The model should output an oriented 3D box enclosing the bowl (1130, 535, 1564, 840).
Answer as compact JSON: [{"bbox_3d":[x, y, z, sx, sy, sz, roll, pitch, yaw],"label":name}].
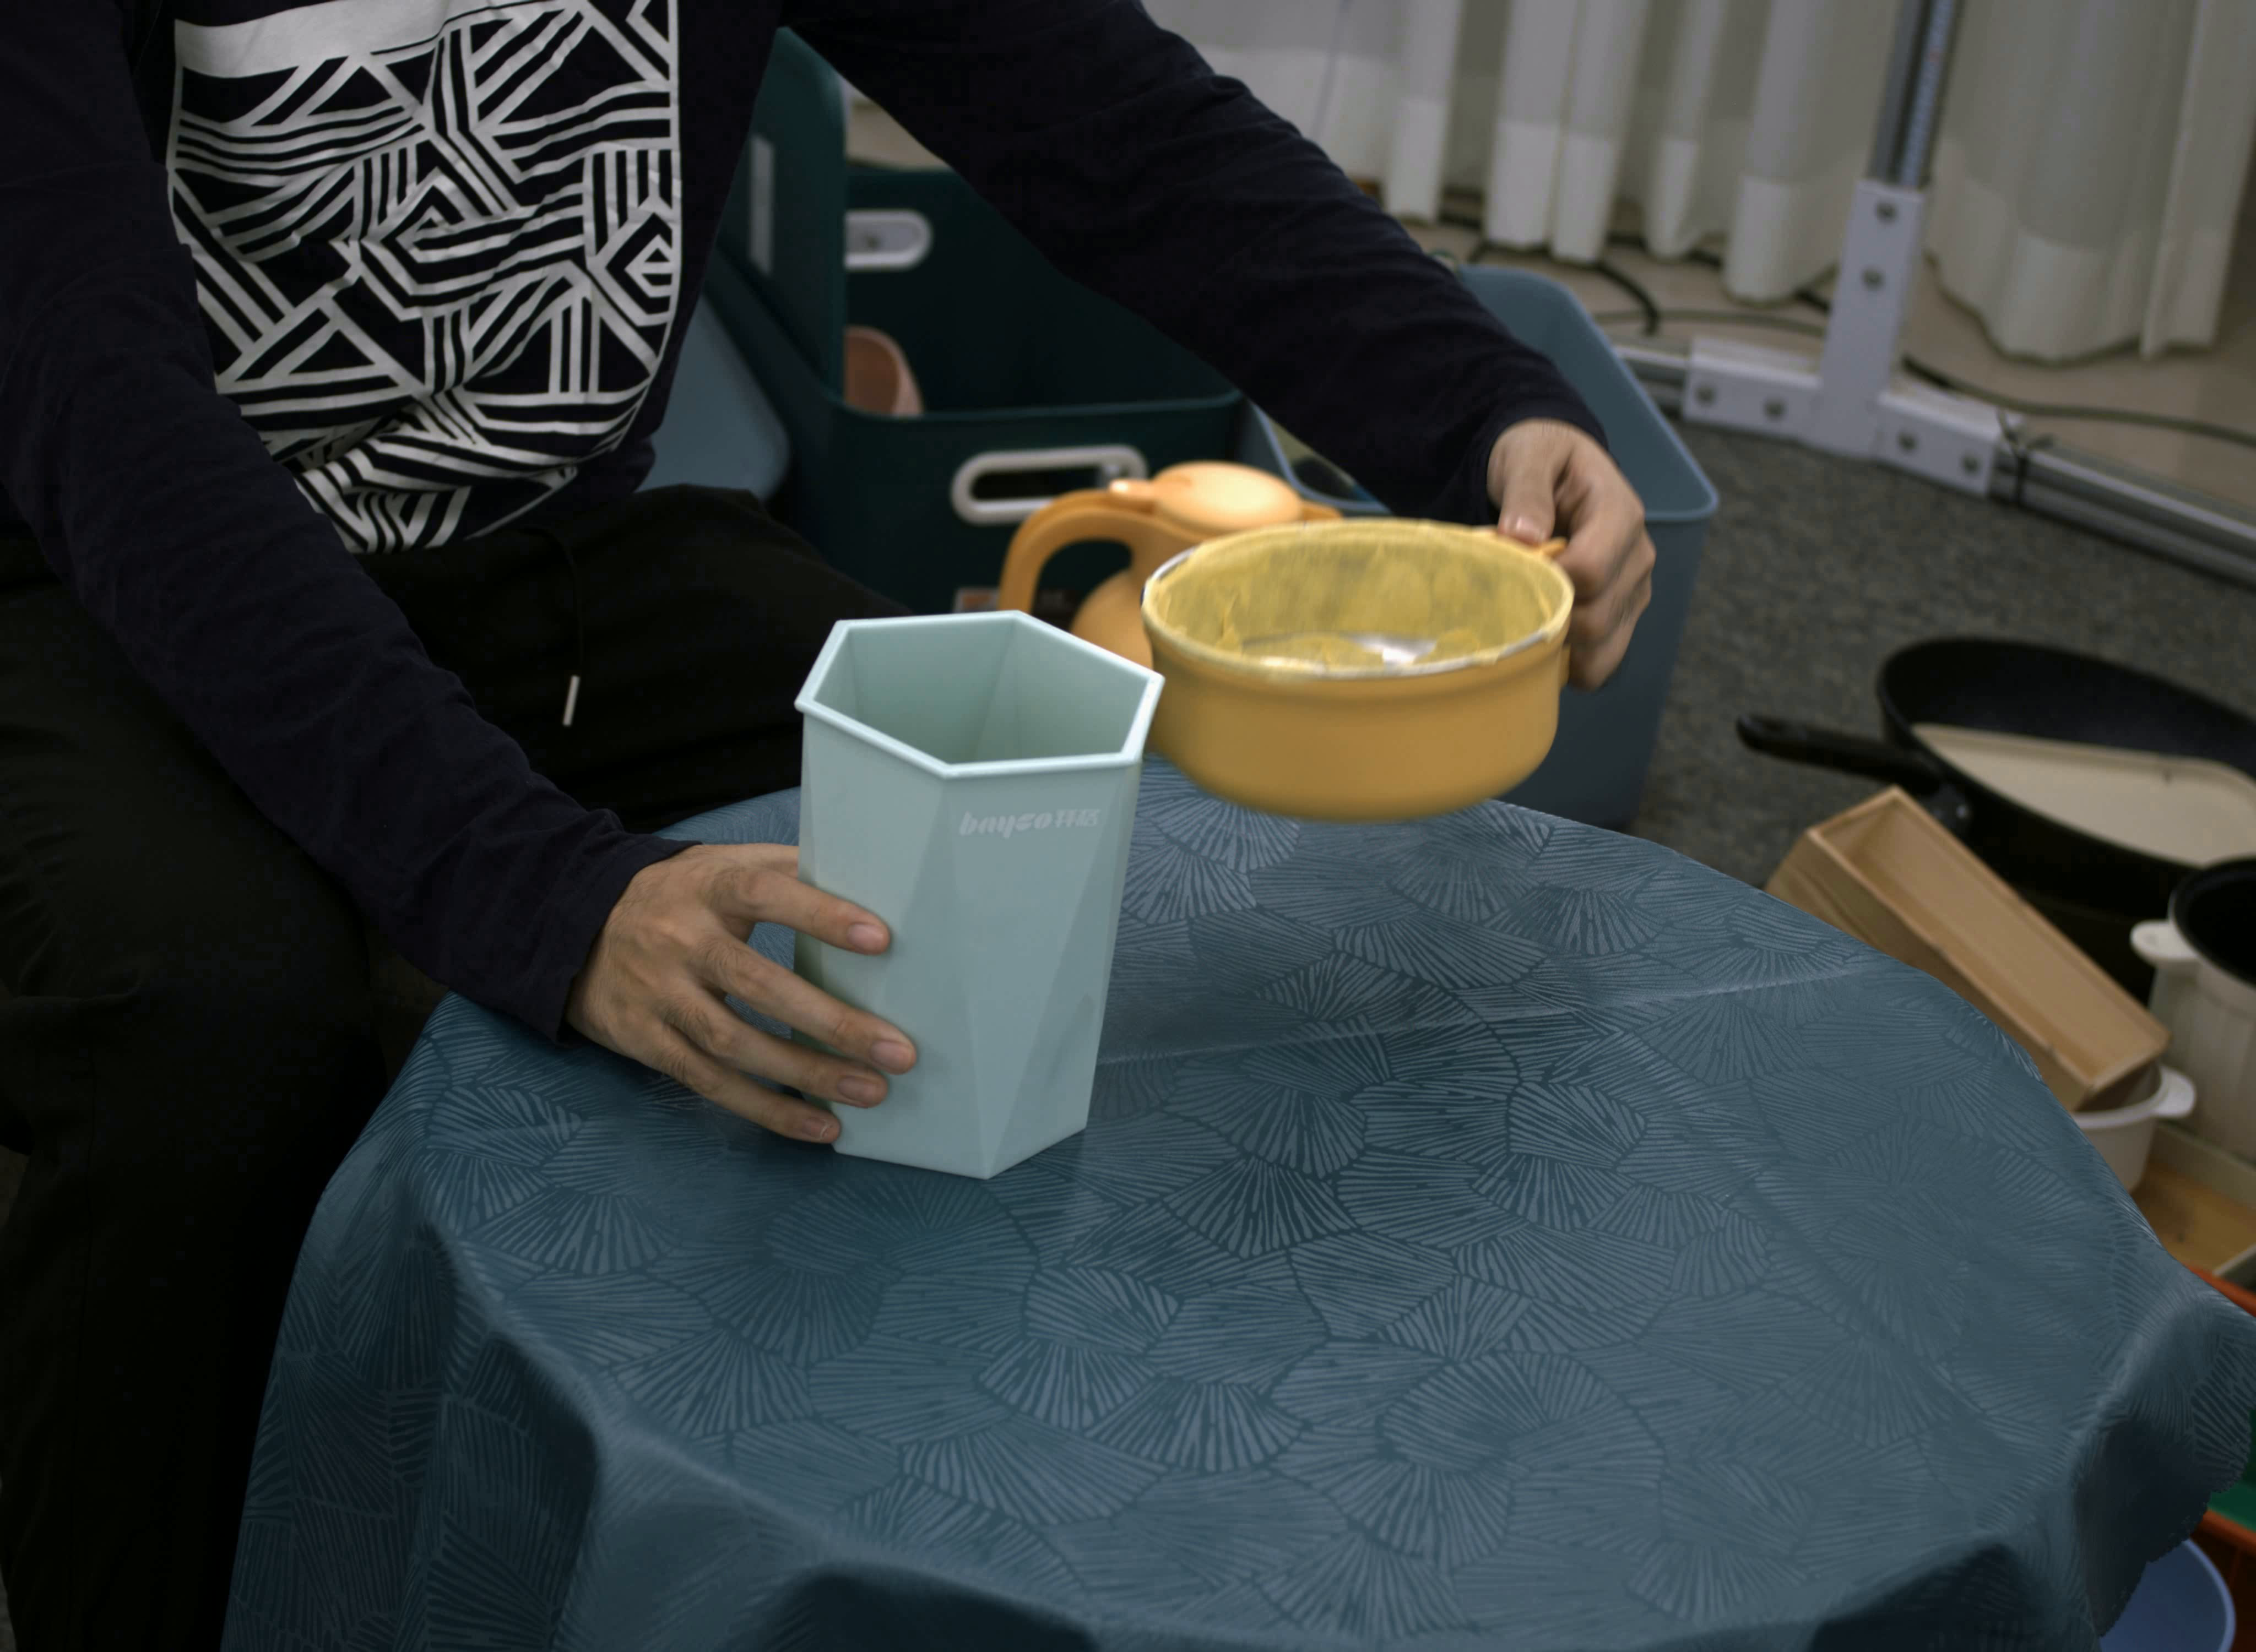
[{"bbox_3d":[0.089,-0.051,1.900,0.154,0.074,0.178,15,29,40],"label":"bowl"}]

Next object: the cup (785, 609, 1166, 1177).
[{"bbox_3d":[-0.056,0.025,1.808,0.130,0.162,0.116,-4,27,-24],"label":"cup"}]
